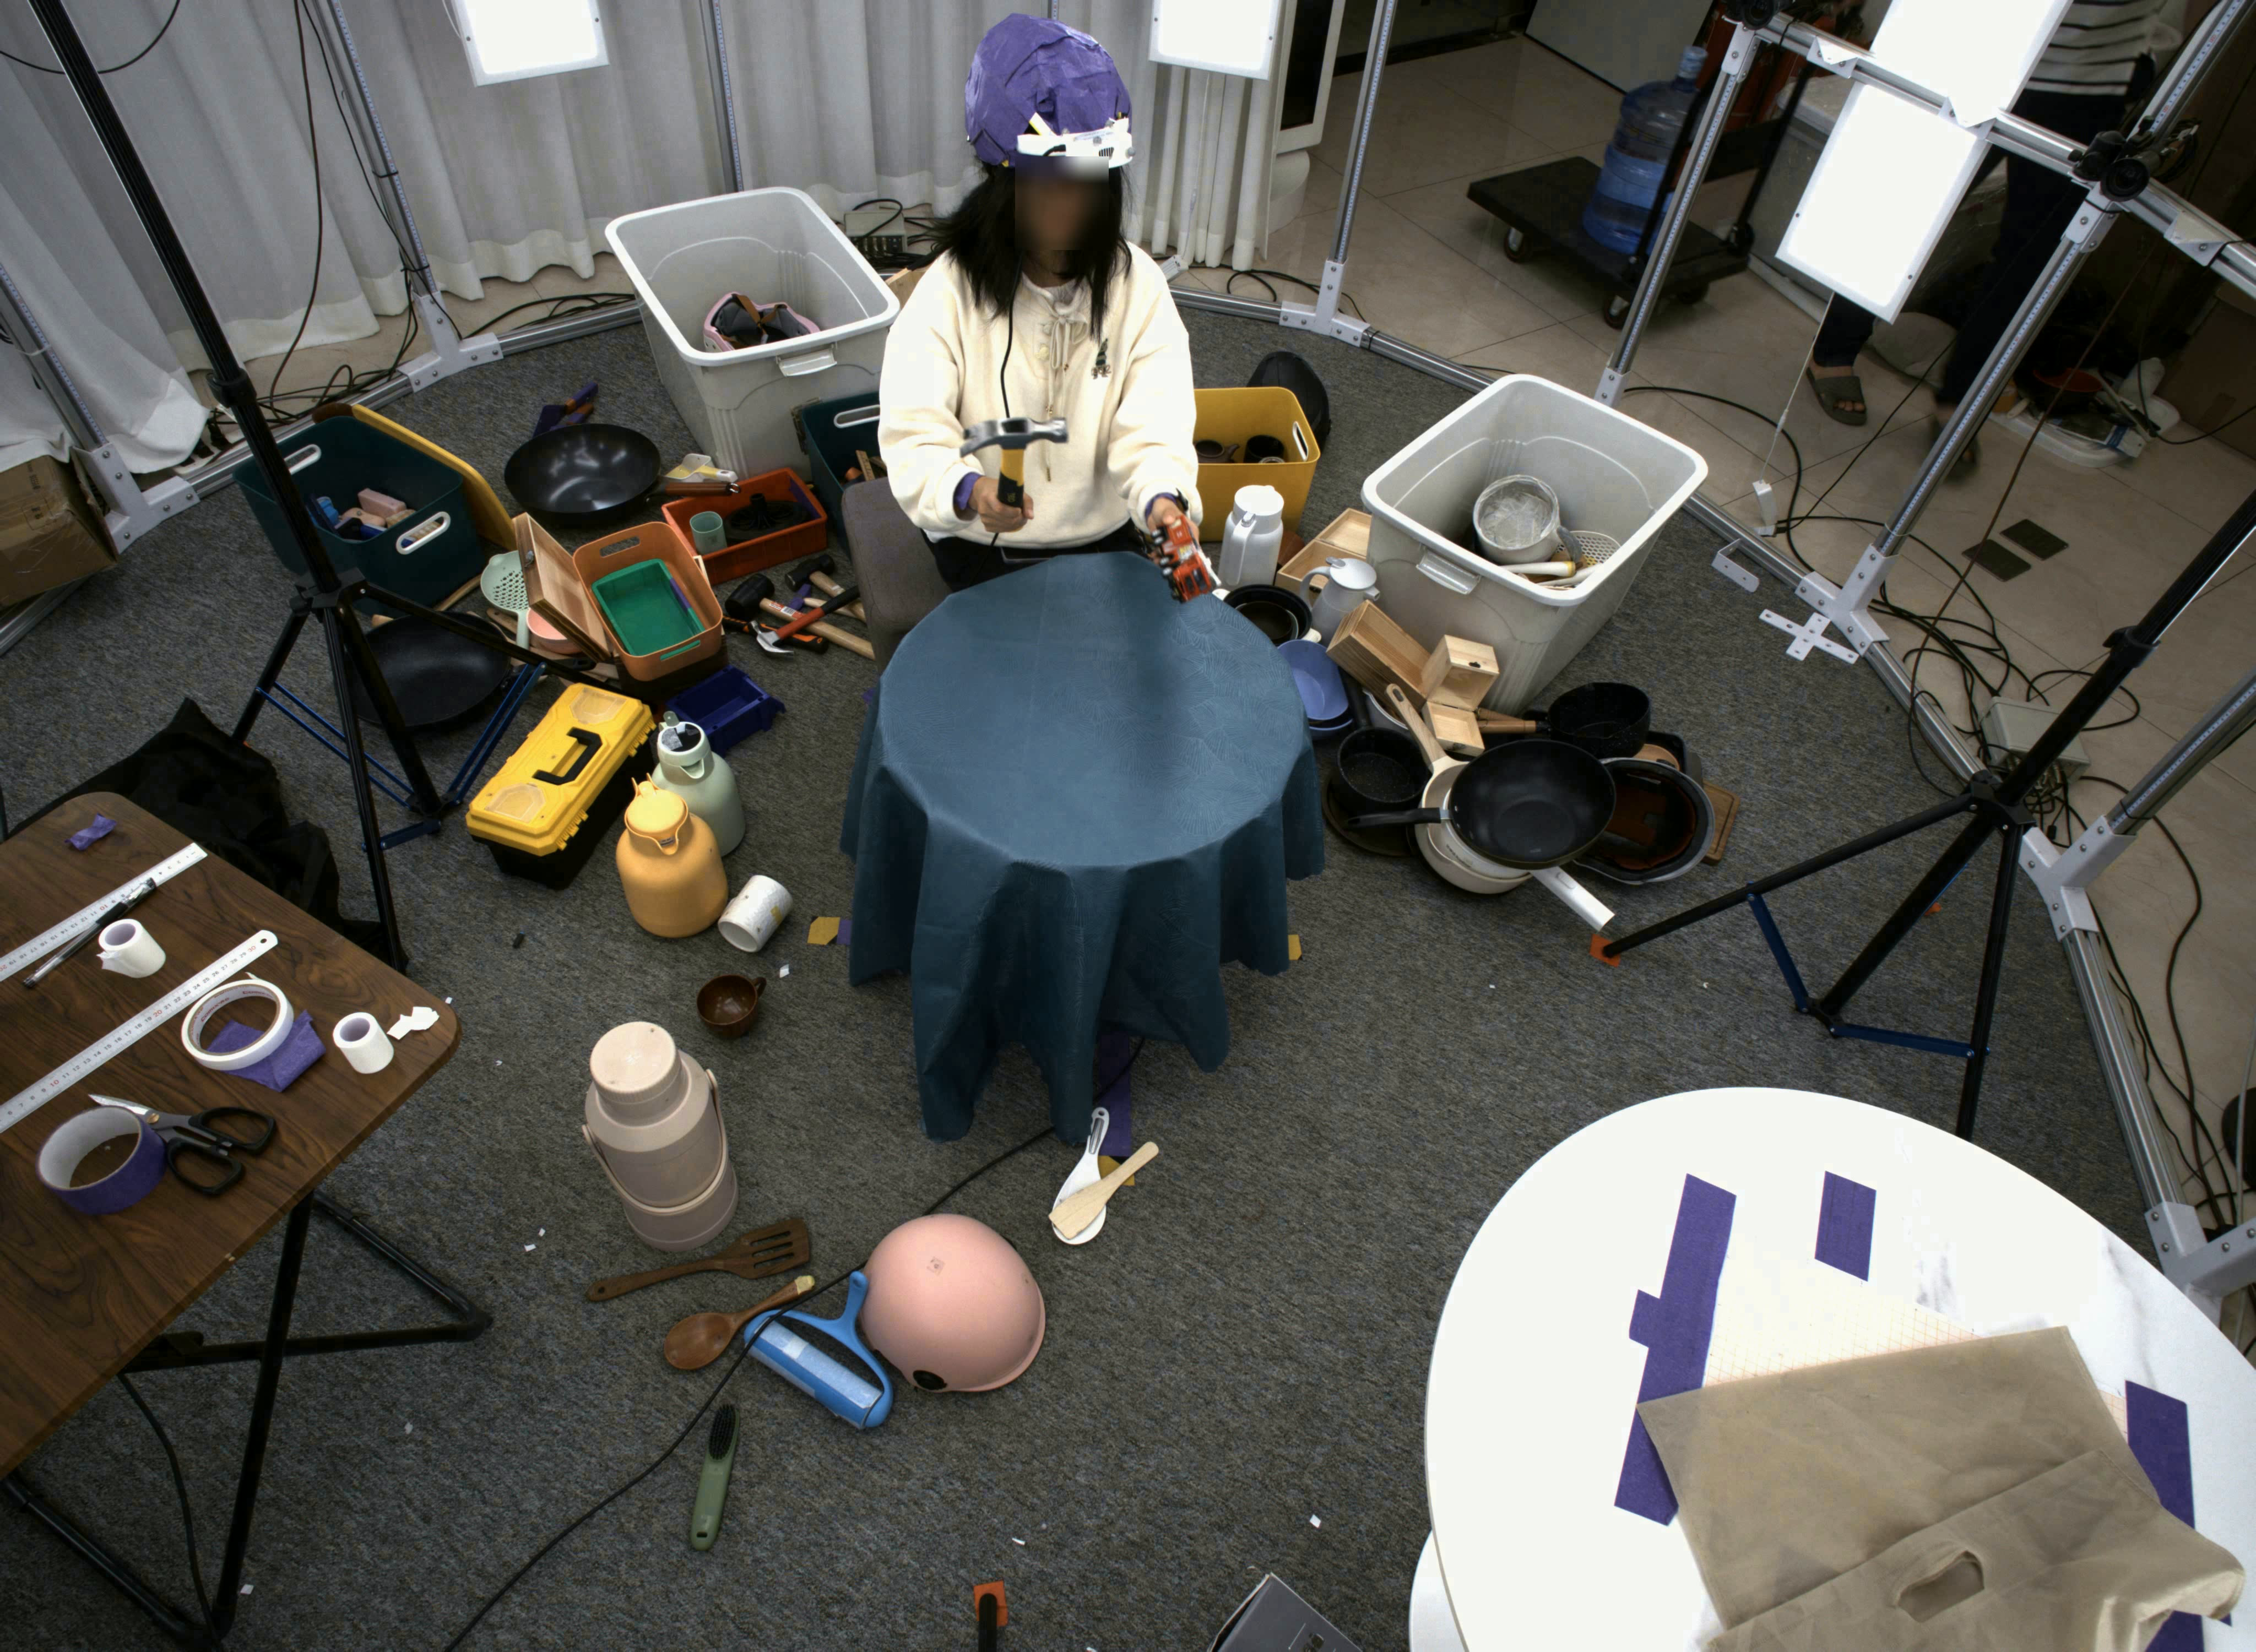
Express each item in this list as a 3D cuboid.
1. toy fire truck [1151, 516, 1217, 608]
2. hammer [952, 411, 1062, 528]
[{"bbox_3d":[0.073,-0.355,1.729,0.070,0.053,0.172,-23,36,9],"label":"toy fire truck"},{"bbox_3d":[-0.155,-0.458,1.686,0.131,0.336,0.032,-4,84,-4],"label":"hammer"}]
